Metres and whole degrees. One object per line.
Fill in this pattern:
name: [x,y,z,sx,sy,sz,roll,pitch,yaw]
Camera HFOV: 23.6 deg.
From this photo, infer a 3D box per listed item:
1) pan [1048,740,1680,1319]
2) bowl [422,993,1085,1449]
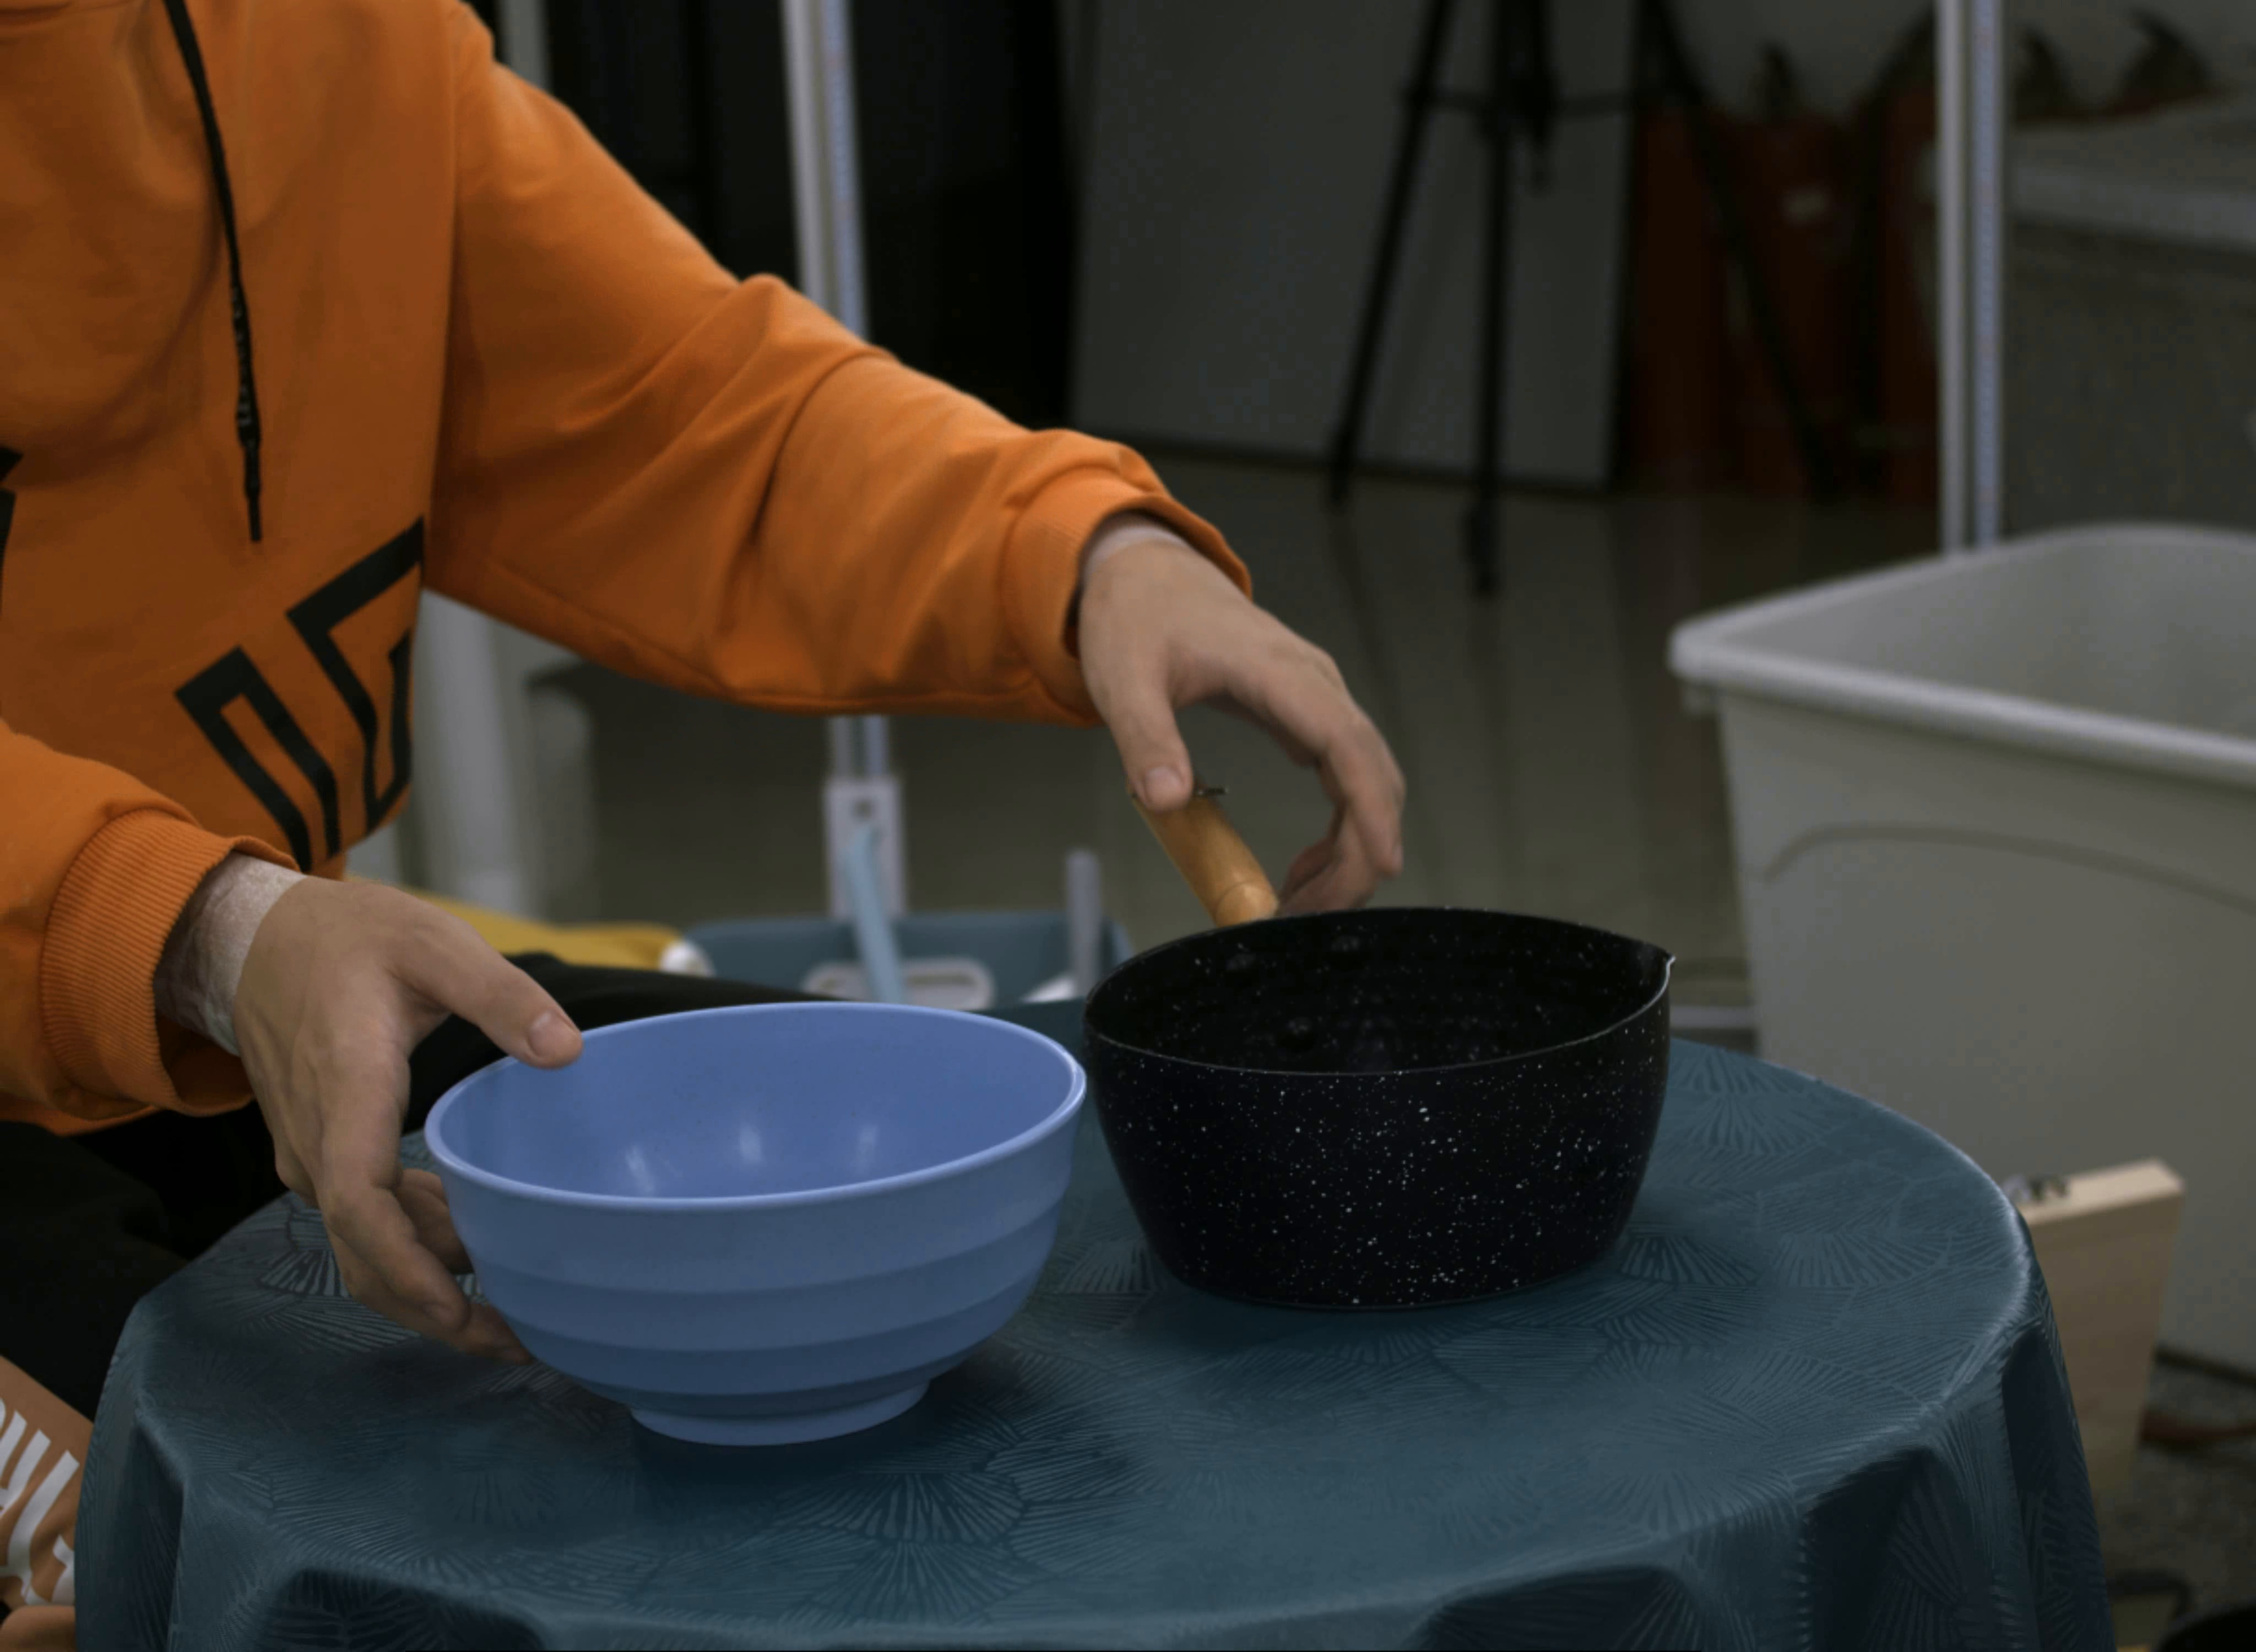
pan: [0.057,0.061,1.770,0.203,0.109,0.345,-9,16,-15]
bowl: [-0.106,0.122,1.593,0.194,0.096,0.197,-4,15,0]
